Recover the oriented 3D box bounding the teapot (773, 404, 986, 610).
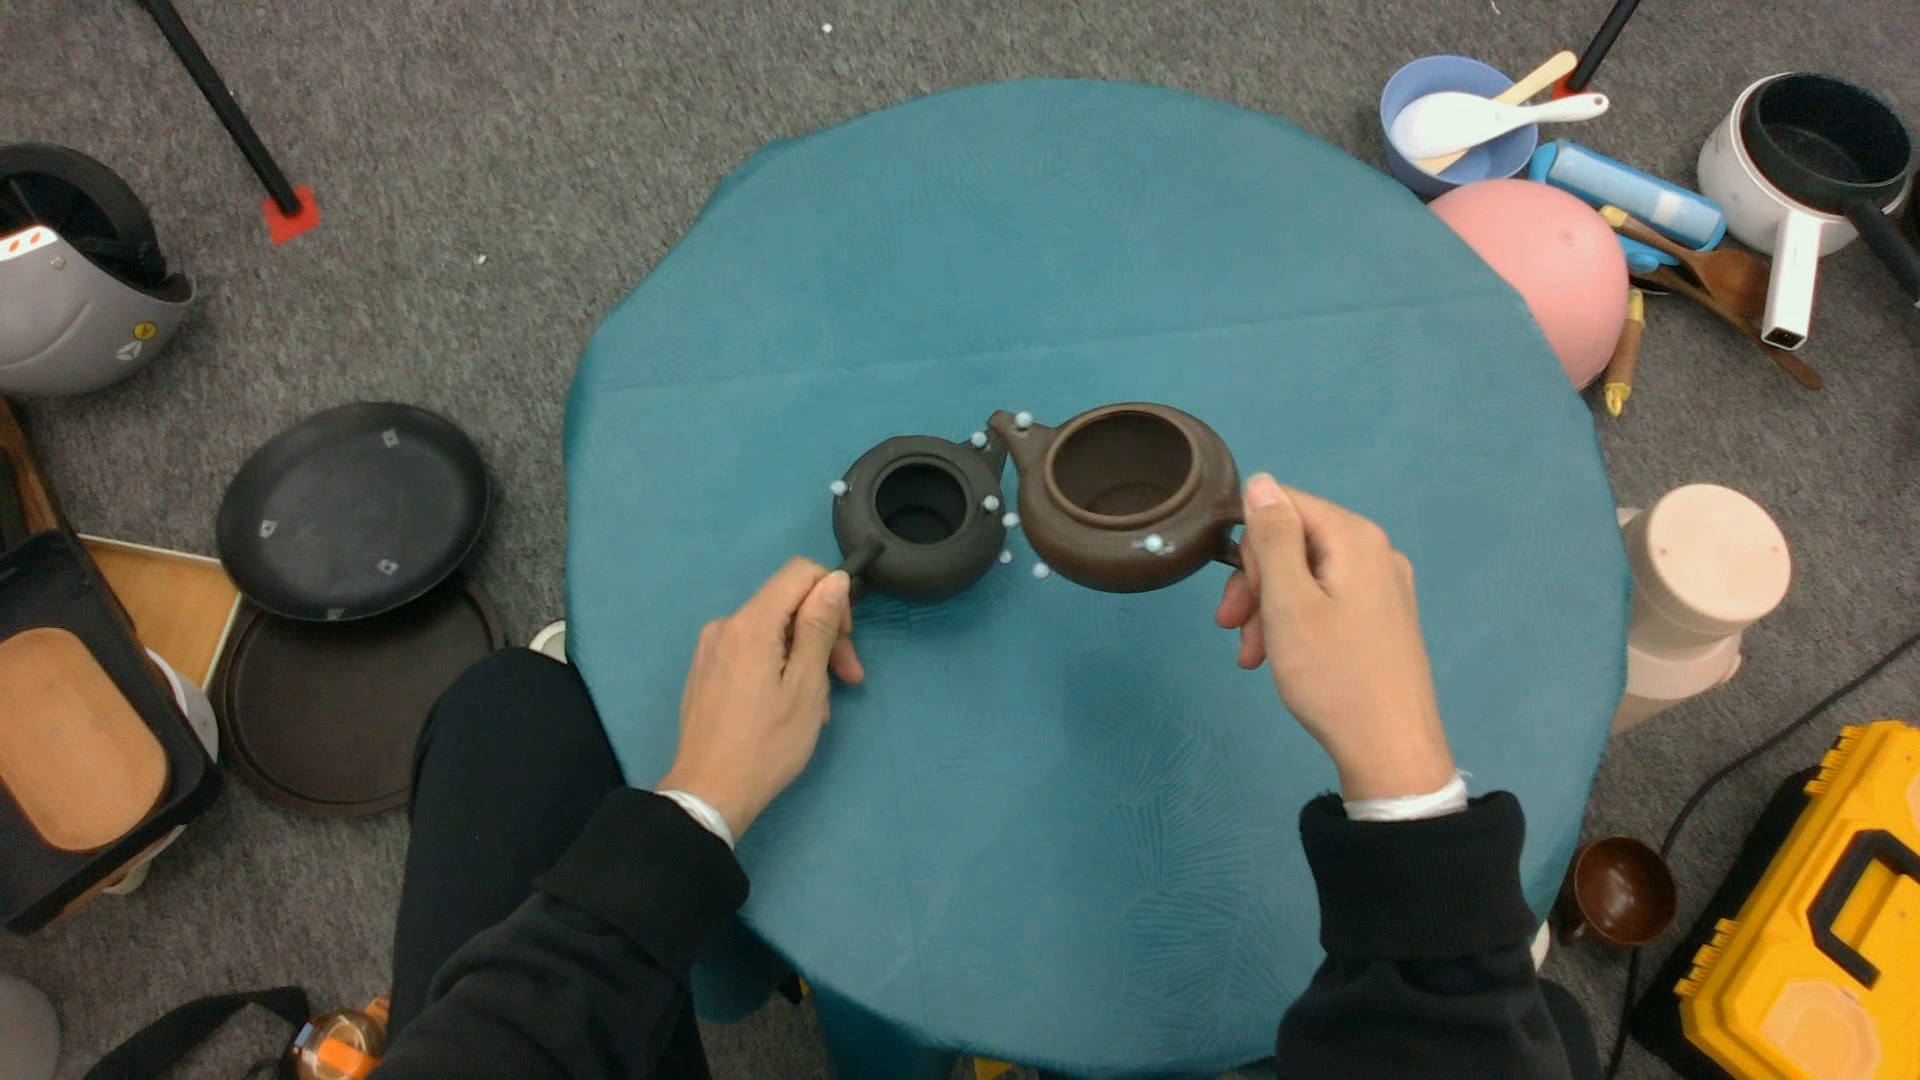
[{"bbox_3d":[-0.040,-0.015,0.729,0.092,0.064,0.155,41,66,15],"label":"teapot"}]

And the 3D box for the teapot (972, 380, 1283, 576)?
[{"bbox_3d":[0.075,-0.029,0.634,0.153,0.053,0.103,18,62,24],"label":"teapot"}]
